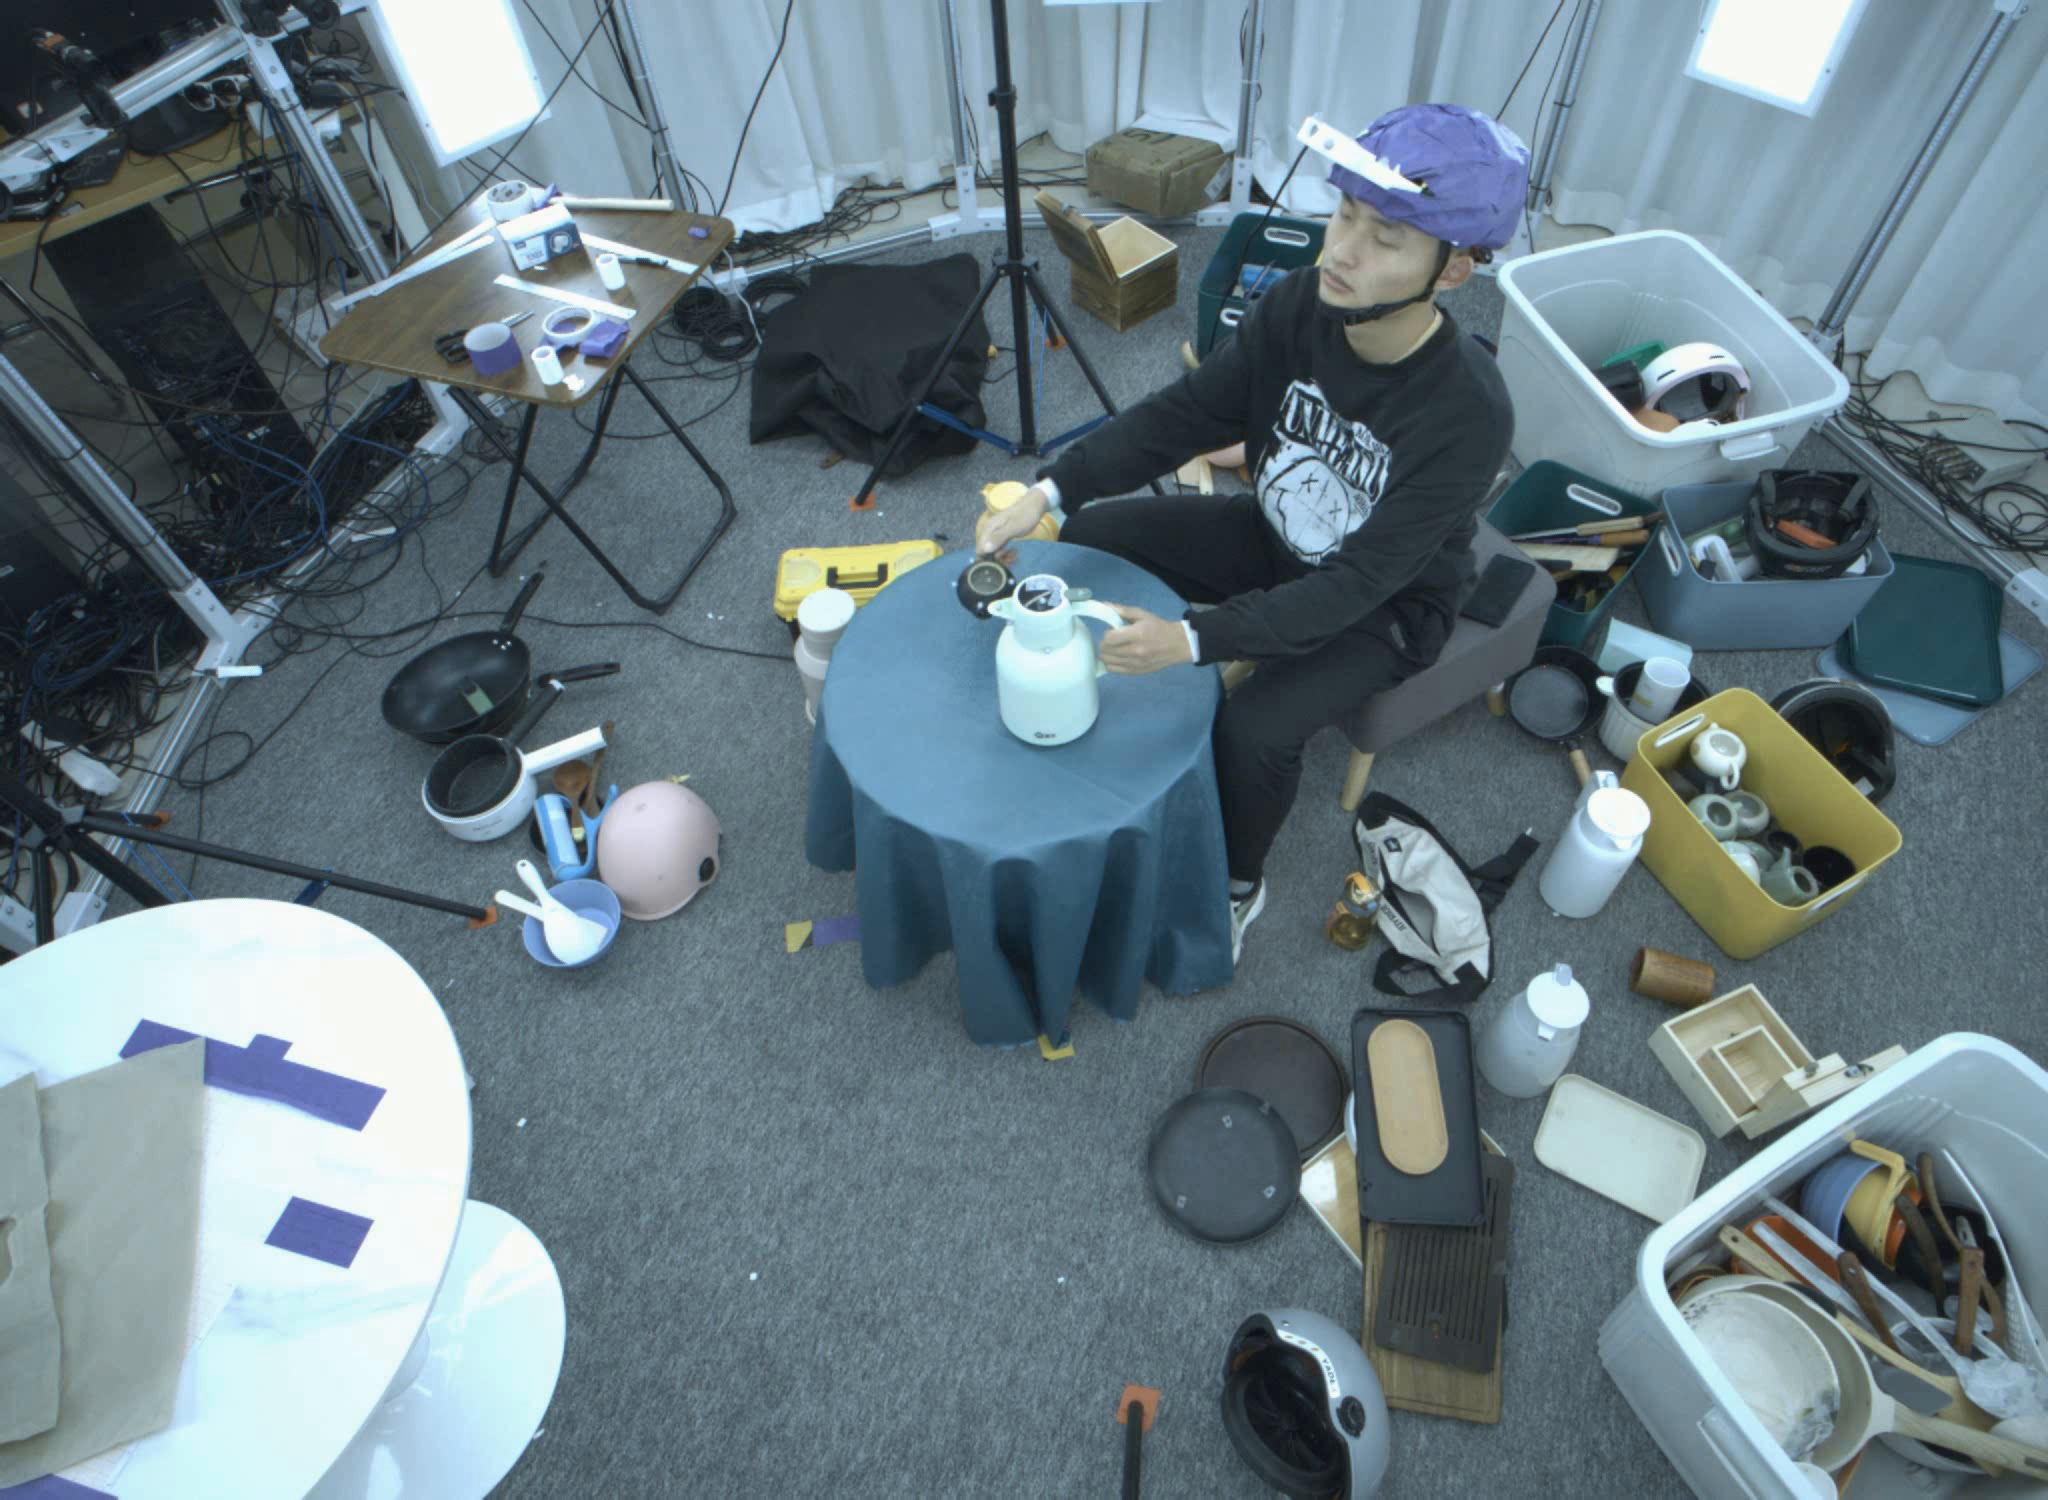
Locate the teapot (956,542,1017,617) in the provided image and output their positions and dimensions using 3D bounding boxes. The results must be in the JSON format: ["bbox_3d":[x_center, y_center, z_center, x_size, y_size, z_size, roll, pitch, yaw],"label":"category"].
[{"bbox_3d":[-0.056,-0.246,1.819,0.091,0.053,0.132,8,67,-2],"label":"teapot"}]

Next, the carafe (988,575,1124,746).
[{"bbox_3d":[0.044,-0.130,1.721,0.187,0.259,0.142,0,52,-1],"label":"carafe"}]
